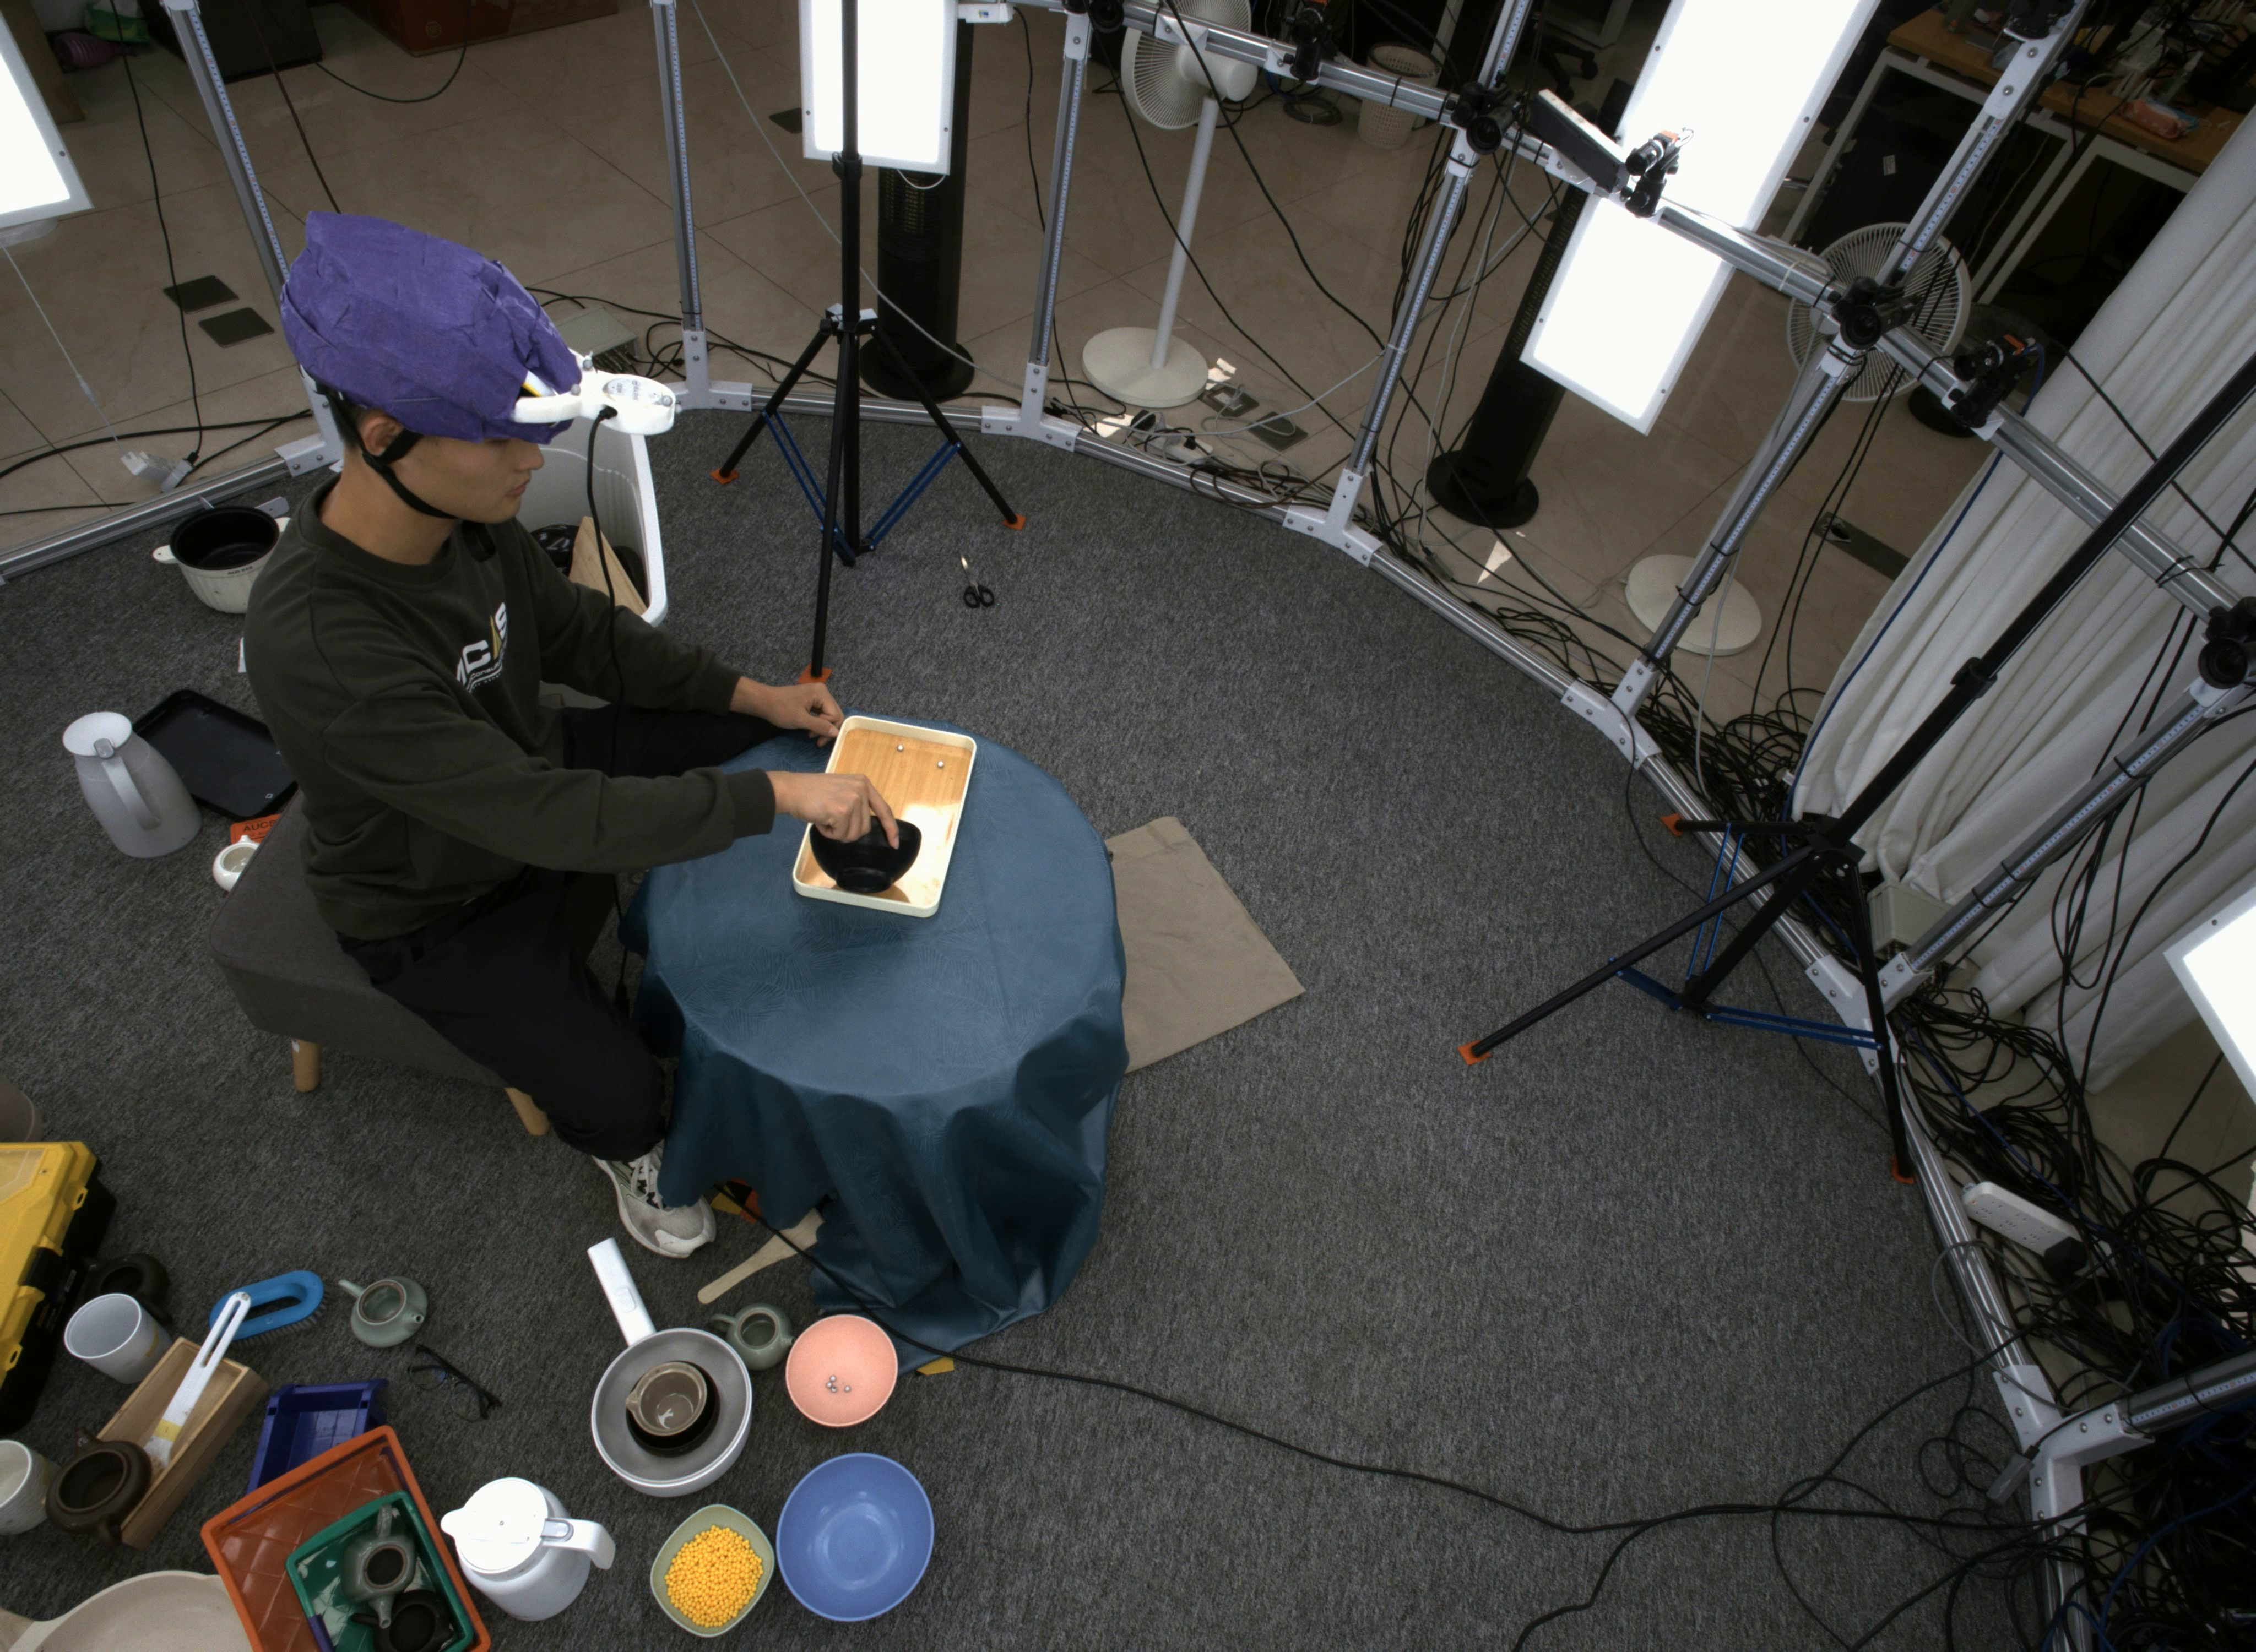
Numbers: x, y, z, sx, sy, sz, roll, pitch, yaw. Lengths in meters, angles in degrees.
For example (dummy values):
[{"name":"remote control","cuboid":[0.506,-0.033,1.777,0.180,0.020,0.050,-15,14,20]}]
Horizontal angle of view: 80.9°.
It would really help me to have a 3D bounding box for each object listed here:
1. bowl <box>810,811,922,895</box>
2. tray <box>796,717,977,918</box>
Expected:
[{"name":"bowl","cuboid":[-0.327,0.041,1.610,0.138,0.172,0.066,5,64,-13]},{"name":"tray","cuboid":[-0.321,-0.017,1.756,0.190,0.028,0.295,11,52,-5]}]
